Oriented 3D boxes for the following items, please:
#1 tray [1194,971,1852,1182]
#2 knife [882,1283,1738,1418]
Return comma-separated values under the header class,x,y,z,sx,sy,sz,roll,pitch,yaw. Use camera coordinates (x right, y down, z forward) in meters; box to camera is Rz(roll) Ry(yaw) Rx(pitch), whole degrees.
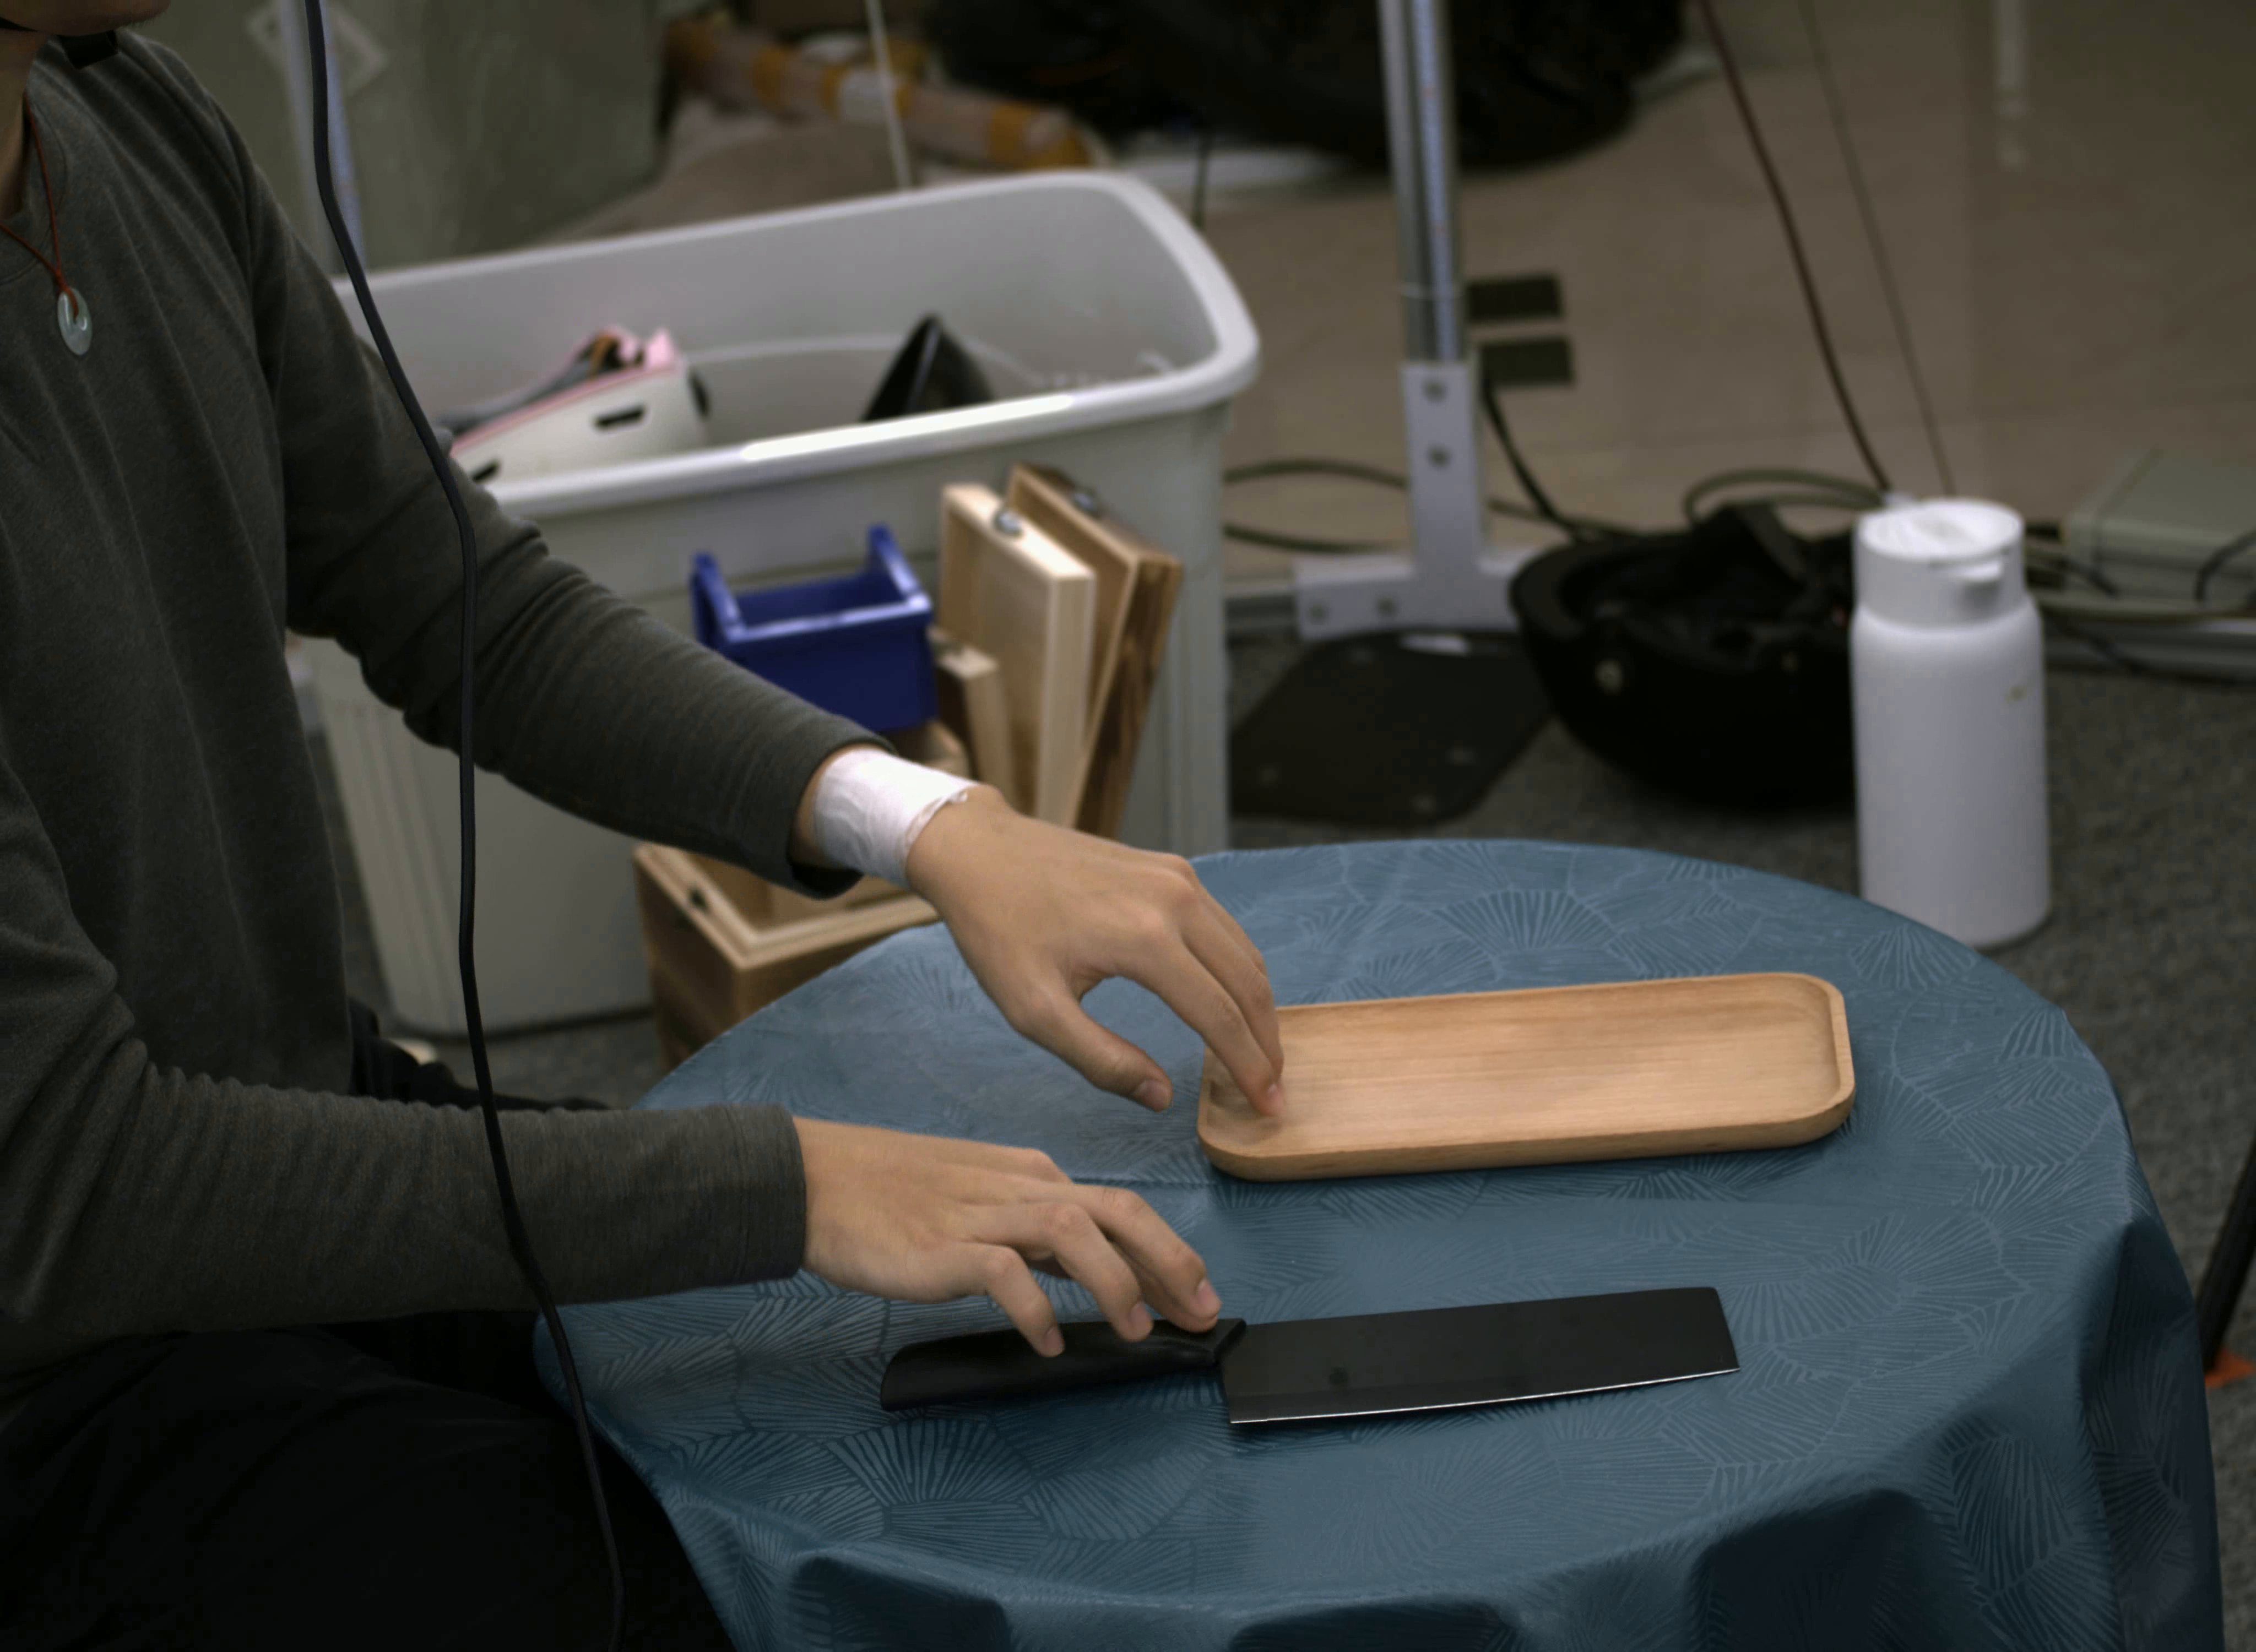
class,x,y,z,sx,sy,sz,roll,pitch,yaw
tray,0.152,0.097,2.186,0.250,0.023,0.129,-5,22,7
knife,0.064,0.189,2.011,0.302,0.021,0.080,-4,25,2
